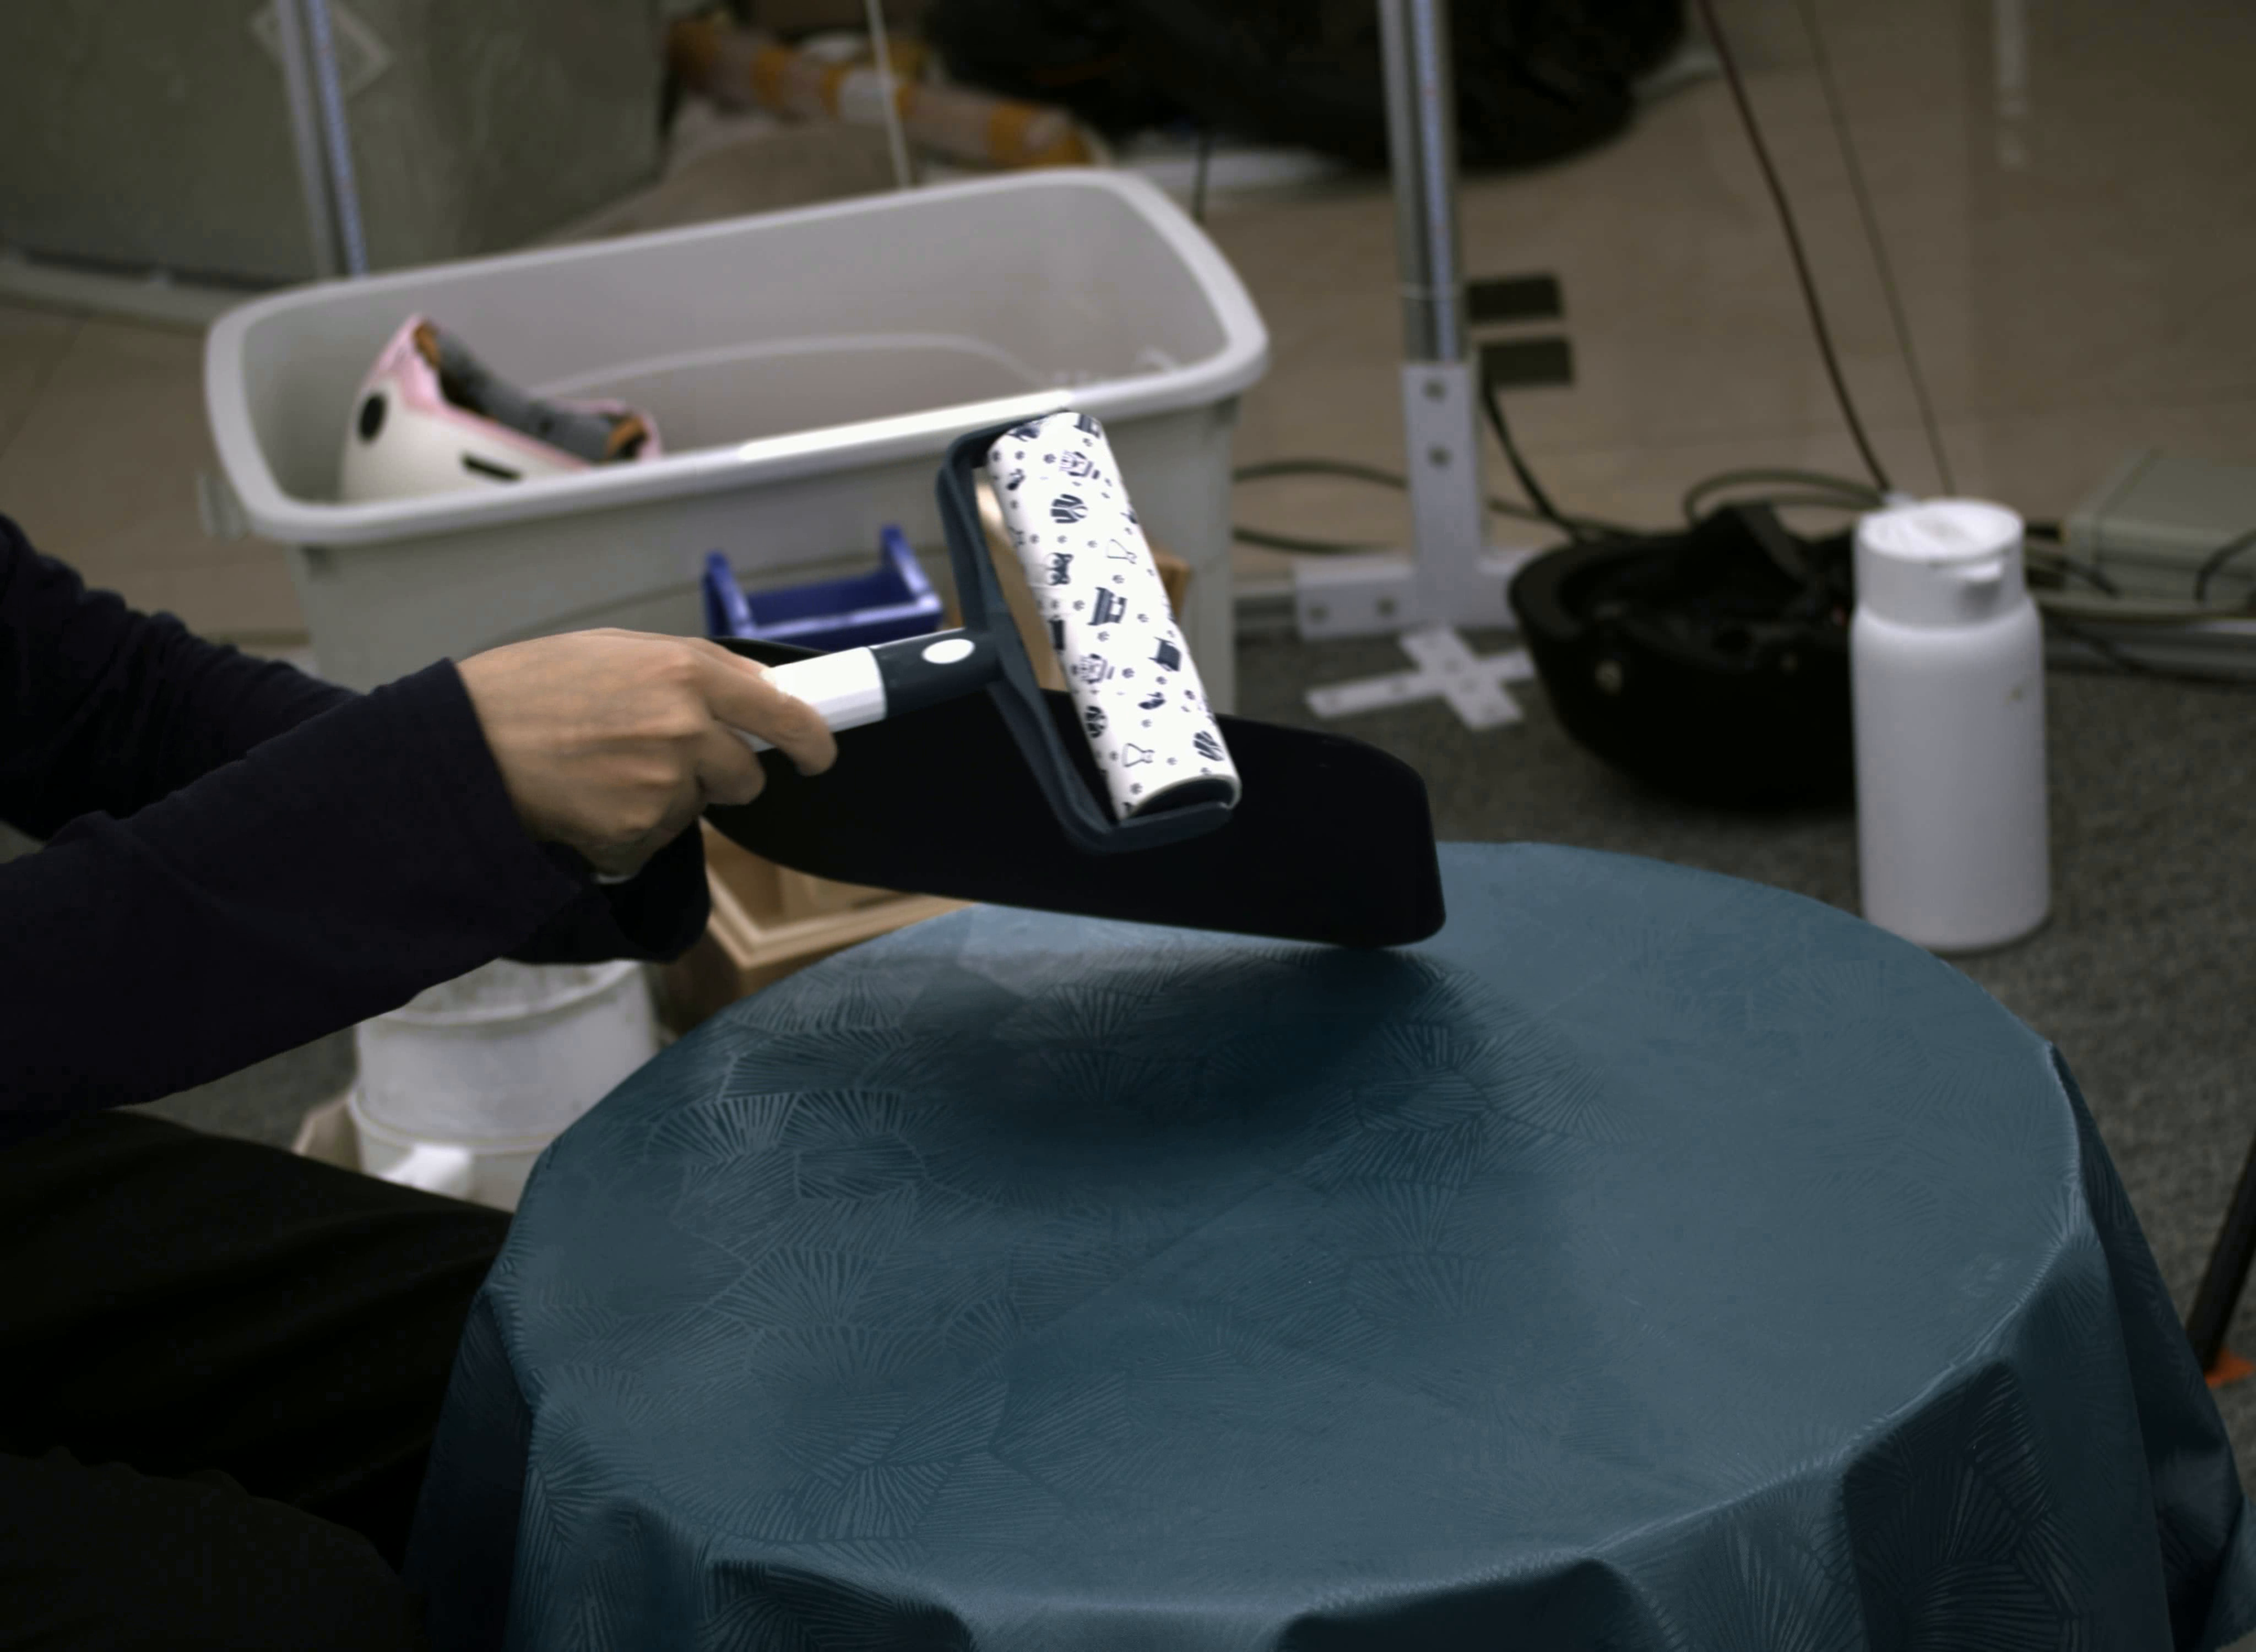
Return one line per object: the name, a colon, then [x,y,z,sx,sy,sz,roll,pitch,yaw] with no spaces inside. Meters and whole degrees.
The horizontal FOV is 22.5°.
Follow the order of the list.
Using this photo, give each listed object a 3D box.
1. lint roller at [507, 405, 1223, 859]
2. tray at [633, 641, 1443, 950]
lint roller: [-0.105,-0.049,2.057,0.246,0.051,0.174,-15,68,-14]
tray: [-0.038,-0.013,2.247,0.324,0.214,0.009,8,66,12]
